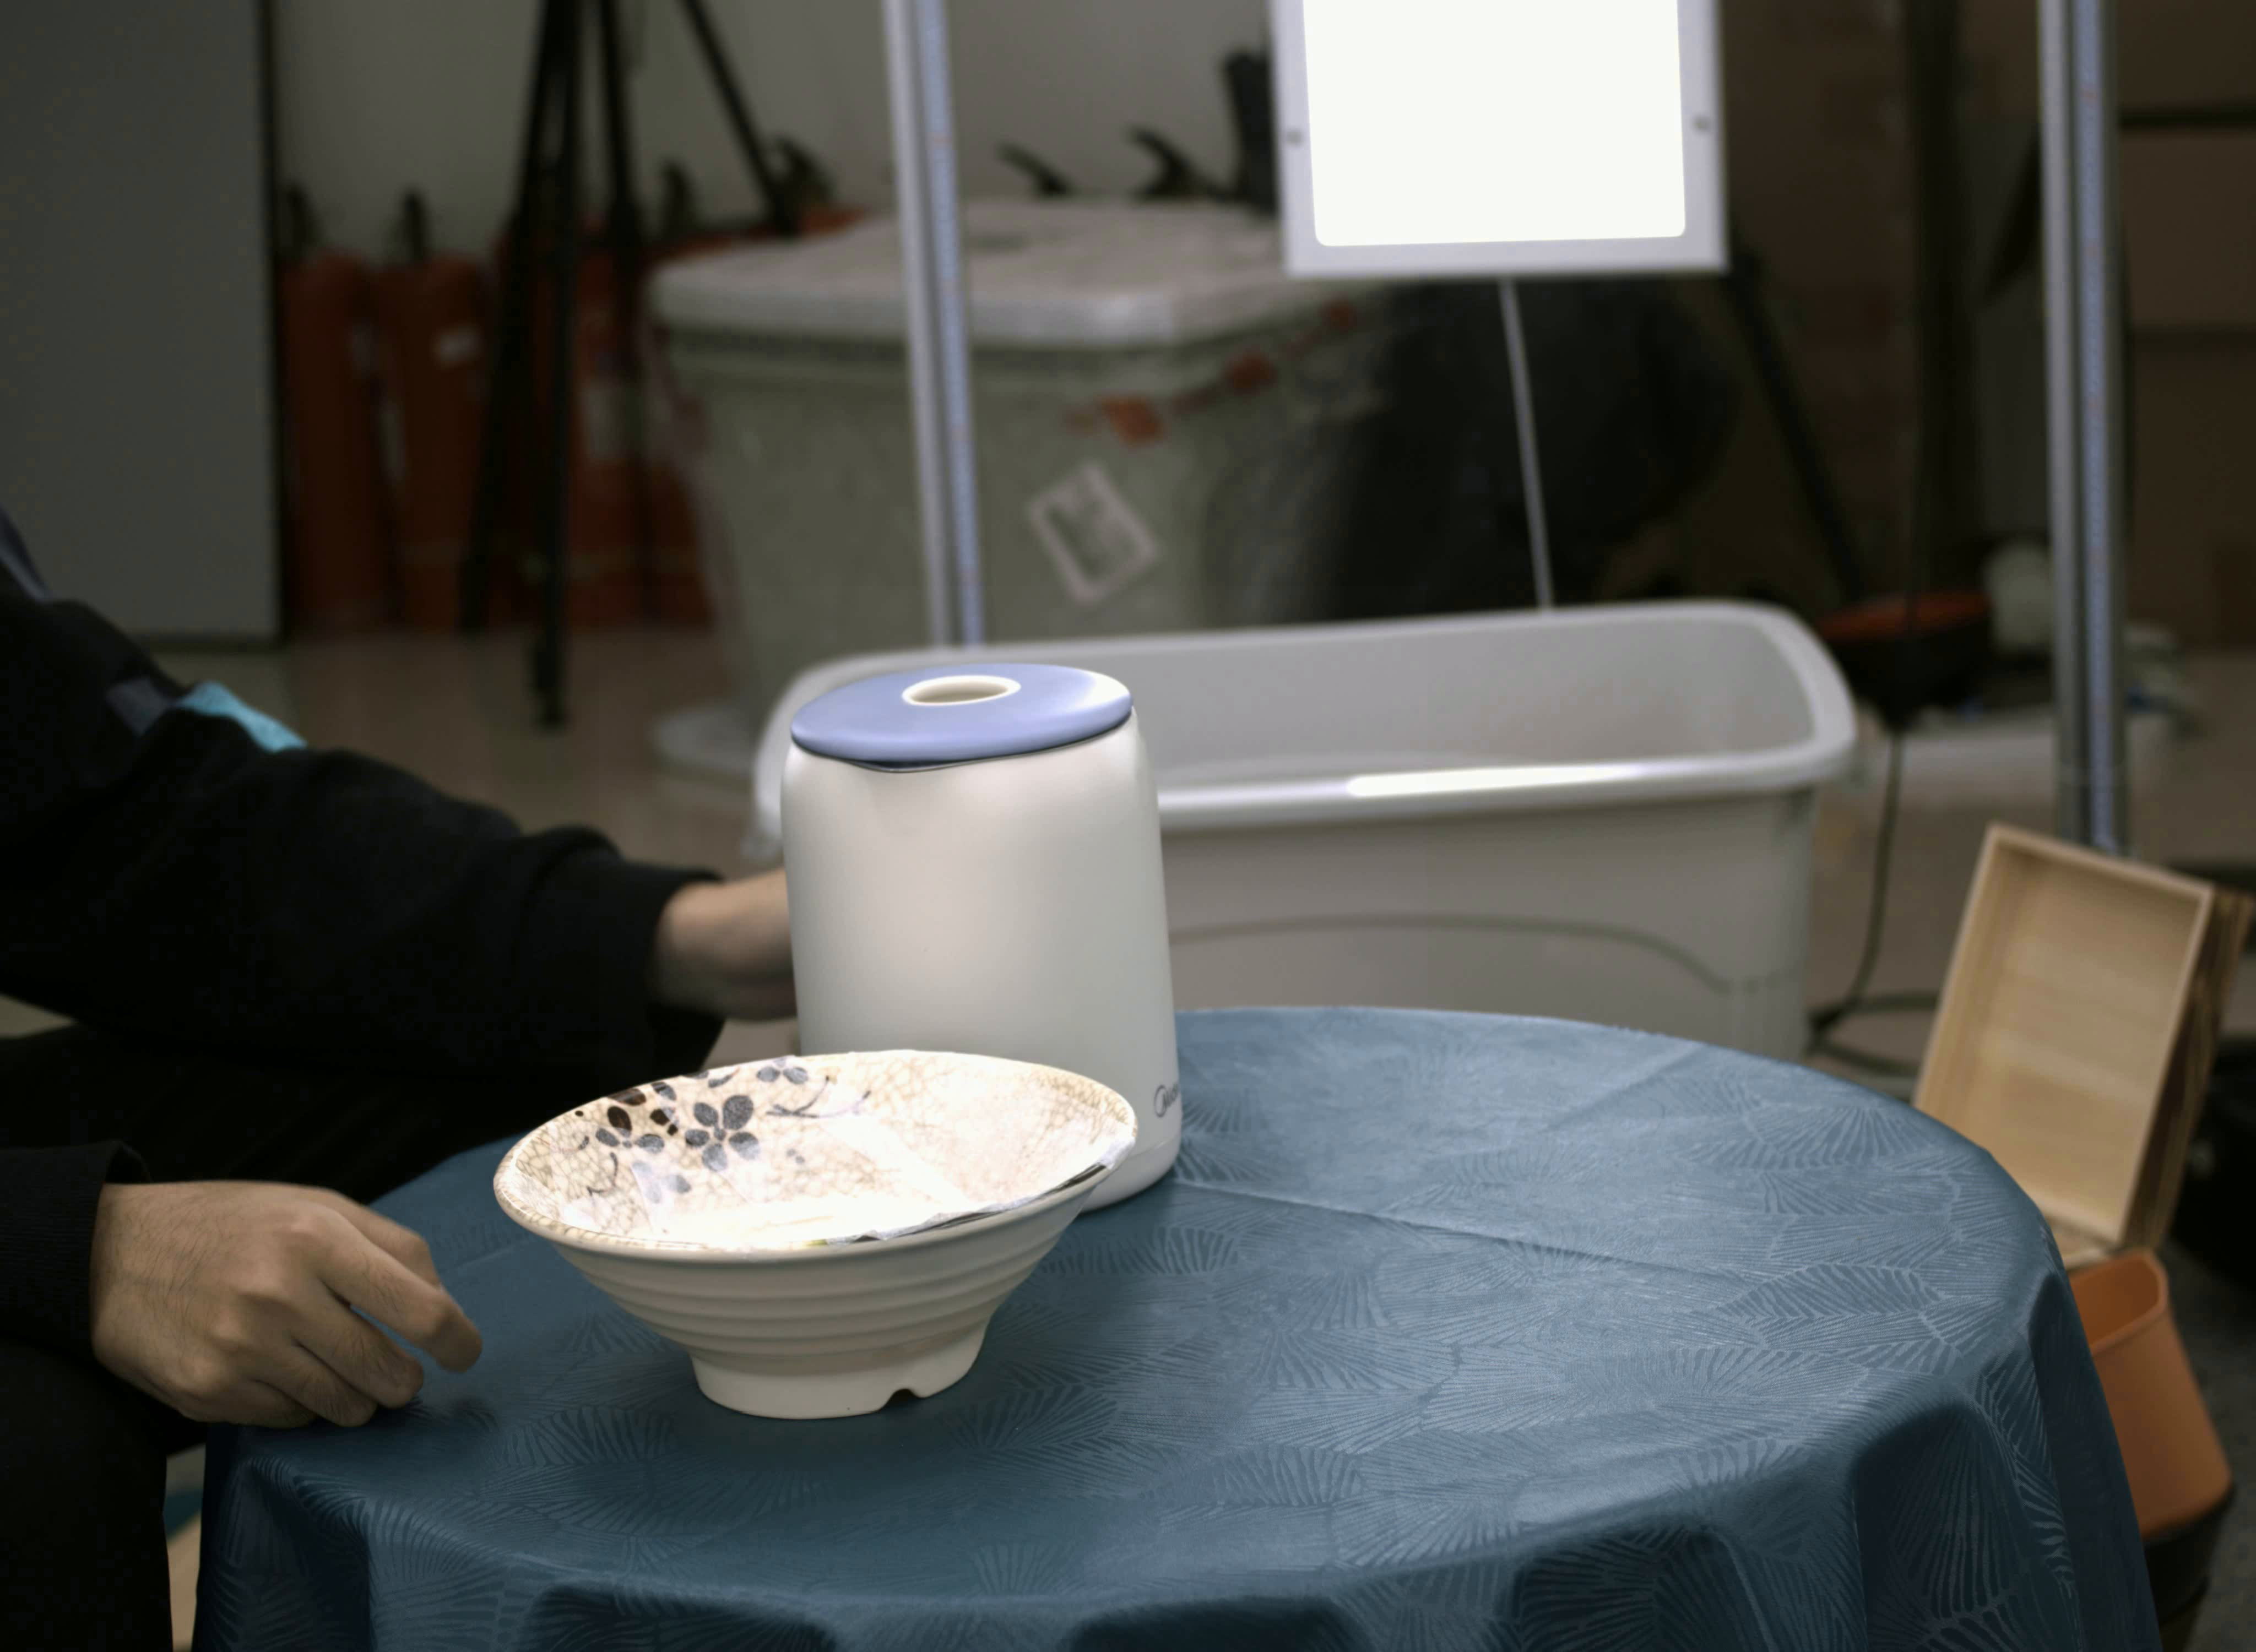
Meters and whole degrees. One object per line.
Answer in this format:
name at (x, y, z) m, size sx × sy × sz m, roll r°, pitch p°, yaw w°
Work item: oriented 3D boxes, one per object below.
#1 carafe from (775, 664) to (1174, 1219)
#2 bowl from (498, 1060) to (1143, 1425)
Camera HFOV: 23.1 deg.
carafe at (-0.046, 0.035, 1.927) m, size 0.133 × 0.183 × 0.188 m, roll 1°, pitch 12°, yaw 16°
bowl at (-0.092, 0.137, 1.730) m, size 0.203 × 0.078 × 0.204 m, roll -7°, pitch 12°, yaw 0°
